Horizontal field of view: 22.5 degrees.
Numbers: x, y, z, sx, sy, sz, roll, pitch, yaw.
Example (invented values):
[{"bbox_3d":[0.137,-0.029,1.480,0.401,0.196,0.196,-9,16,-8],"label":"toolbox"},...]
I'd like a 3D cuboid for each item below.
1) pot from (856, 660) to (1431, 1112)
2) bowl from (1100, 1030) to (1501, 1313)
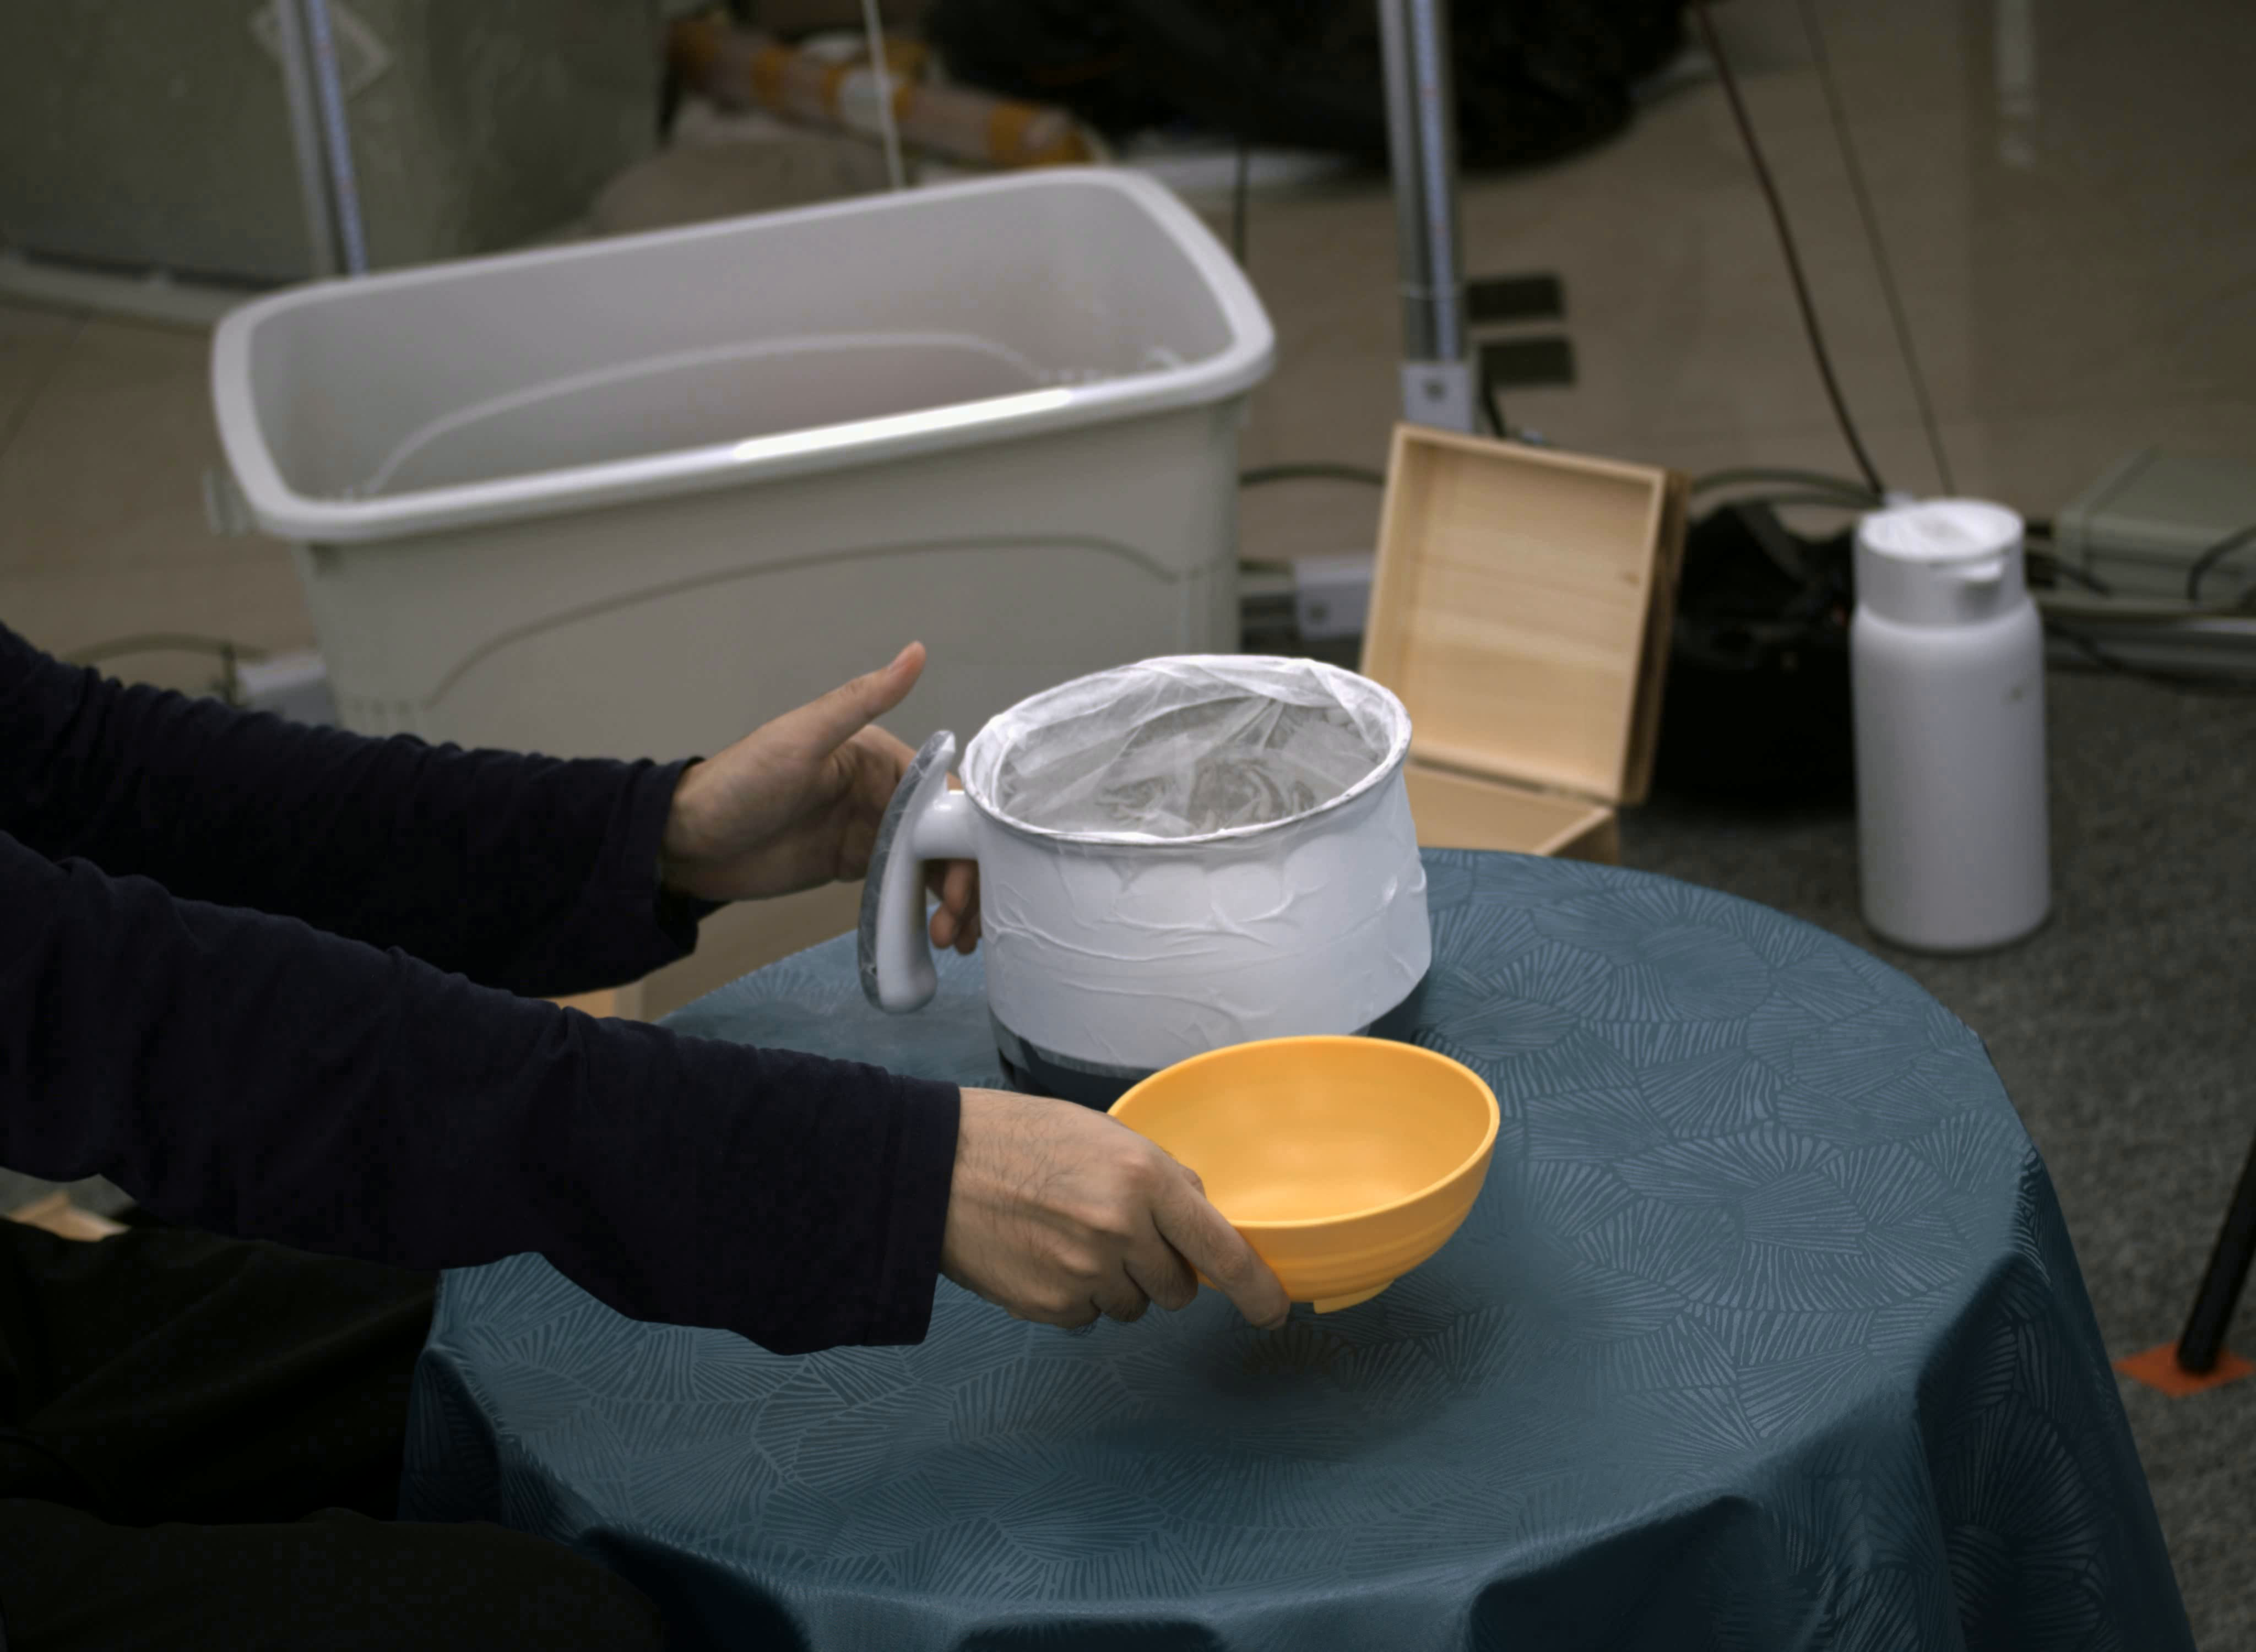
[{"bbox_3d":[0.003,0.025,2.229,0.233,0.138,0.176,1,23,14],"label":"pot"},{"bbox_3d":[0.065,0.132,2.027,0.145,0.061,0.143,-7,25,3],"label":"bowl"}]
